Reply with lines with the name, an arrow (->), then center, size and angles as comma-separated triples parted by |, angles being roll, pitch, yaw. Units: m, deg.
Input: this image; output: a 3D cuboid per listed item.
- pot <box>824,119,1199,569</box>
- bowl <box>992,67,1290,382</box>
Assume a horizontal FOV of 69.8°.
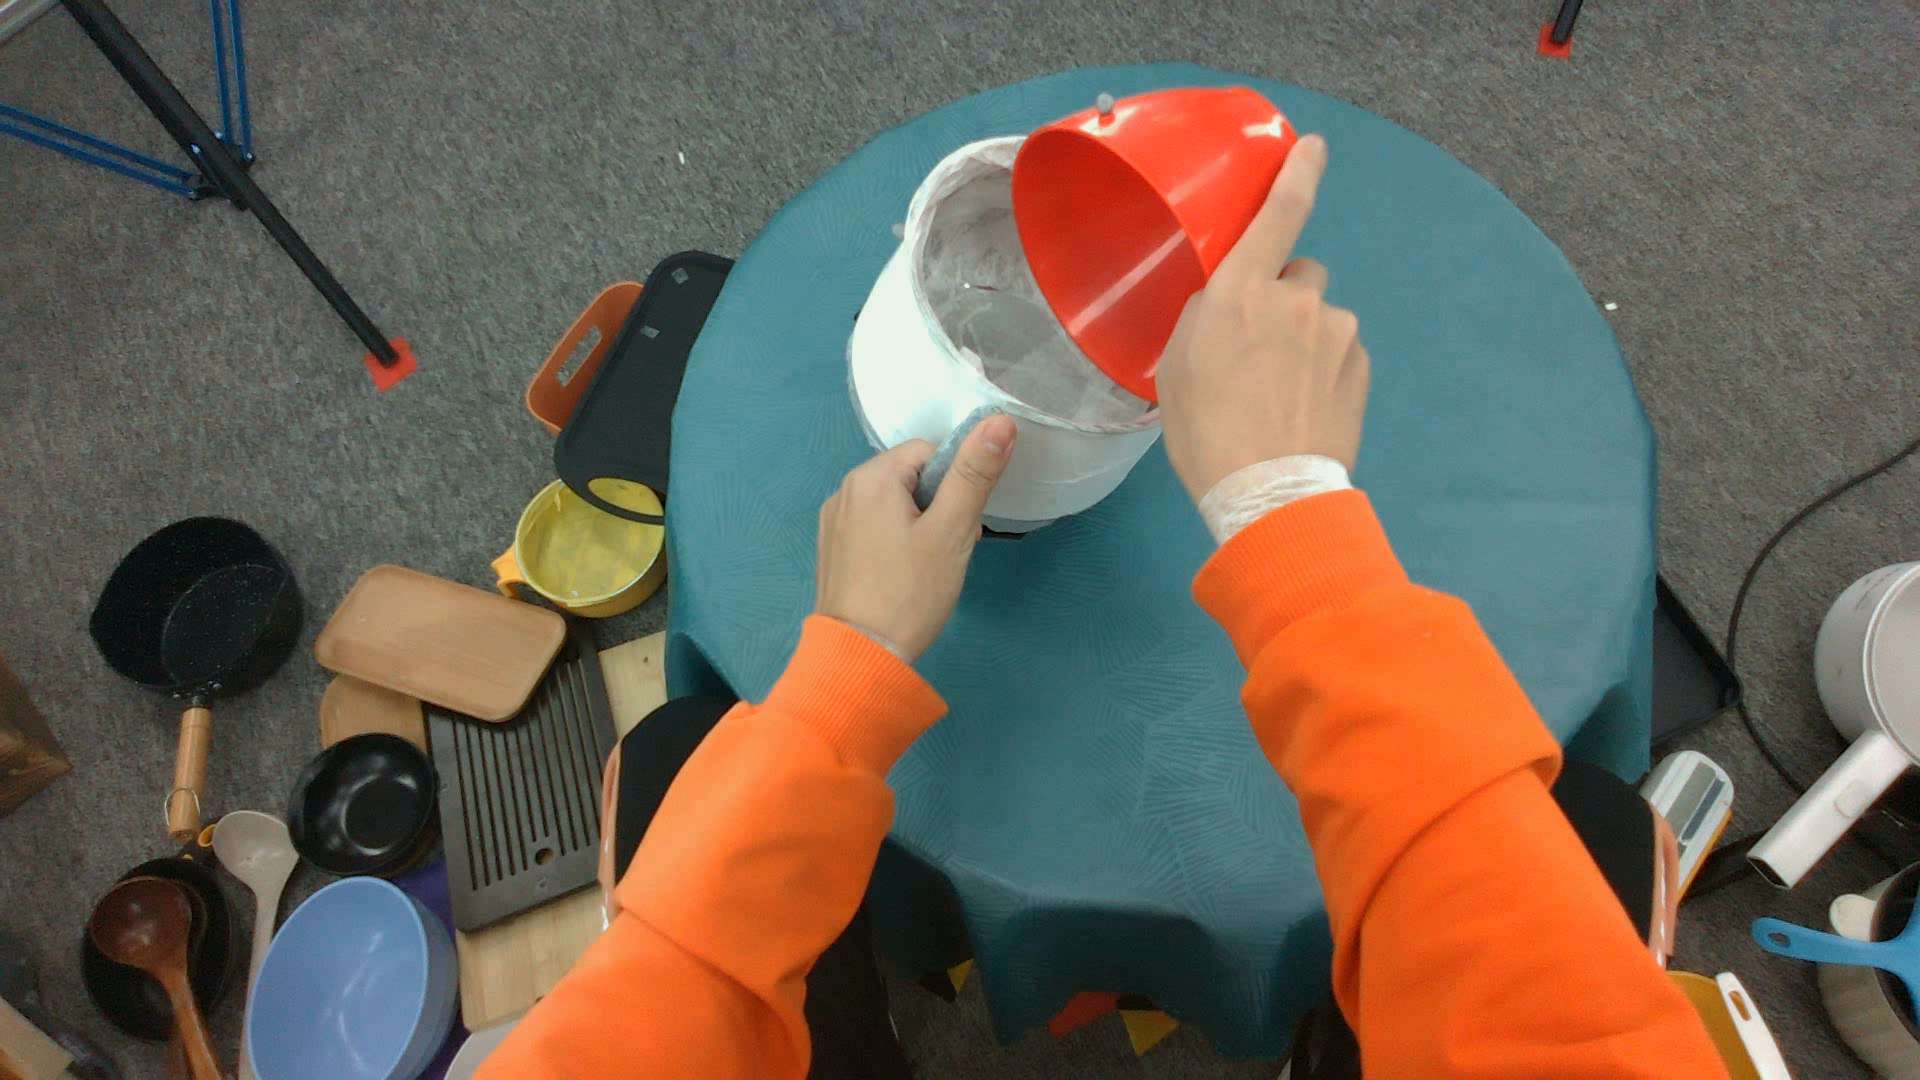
pot -> 0.015, -0.094, 0.728 | 0.179, 0.136, 0.235 | 30, 57, -6
bowl -> 0.095, -0.163, 0.662 | 0.105, 0.147, 0.148 | -38, 68, -10
